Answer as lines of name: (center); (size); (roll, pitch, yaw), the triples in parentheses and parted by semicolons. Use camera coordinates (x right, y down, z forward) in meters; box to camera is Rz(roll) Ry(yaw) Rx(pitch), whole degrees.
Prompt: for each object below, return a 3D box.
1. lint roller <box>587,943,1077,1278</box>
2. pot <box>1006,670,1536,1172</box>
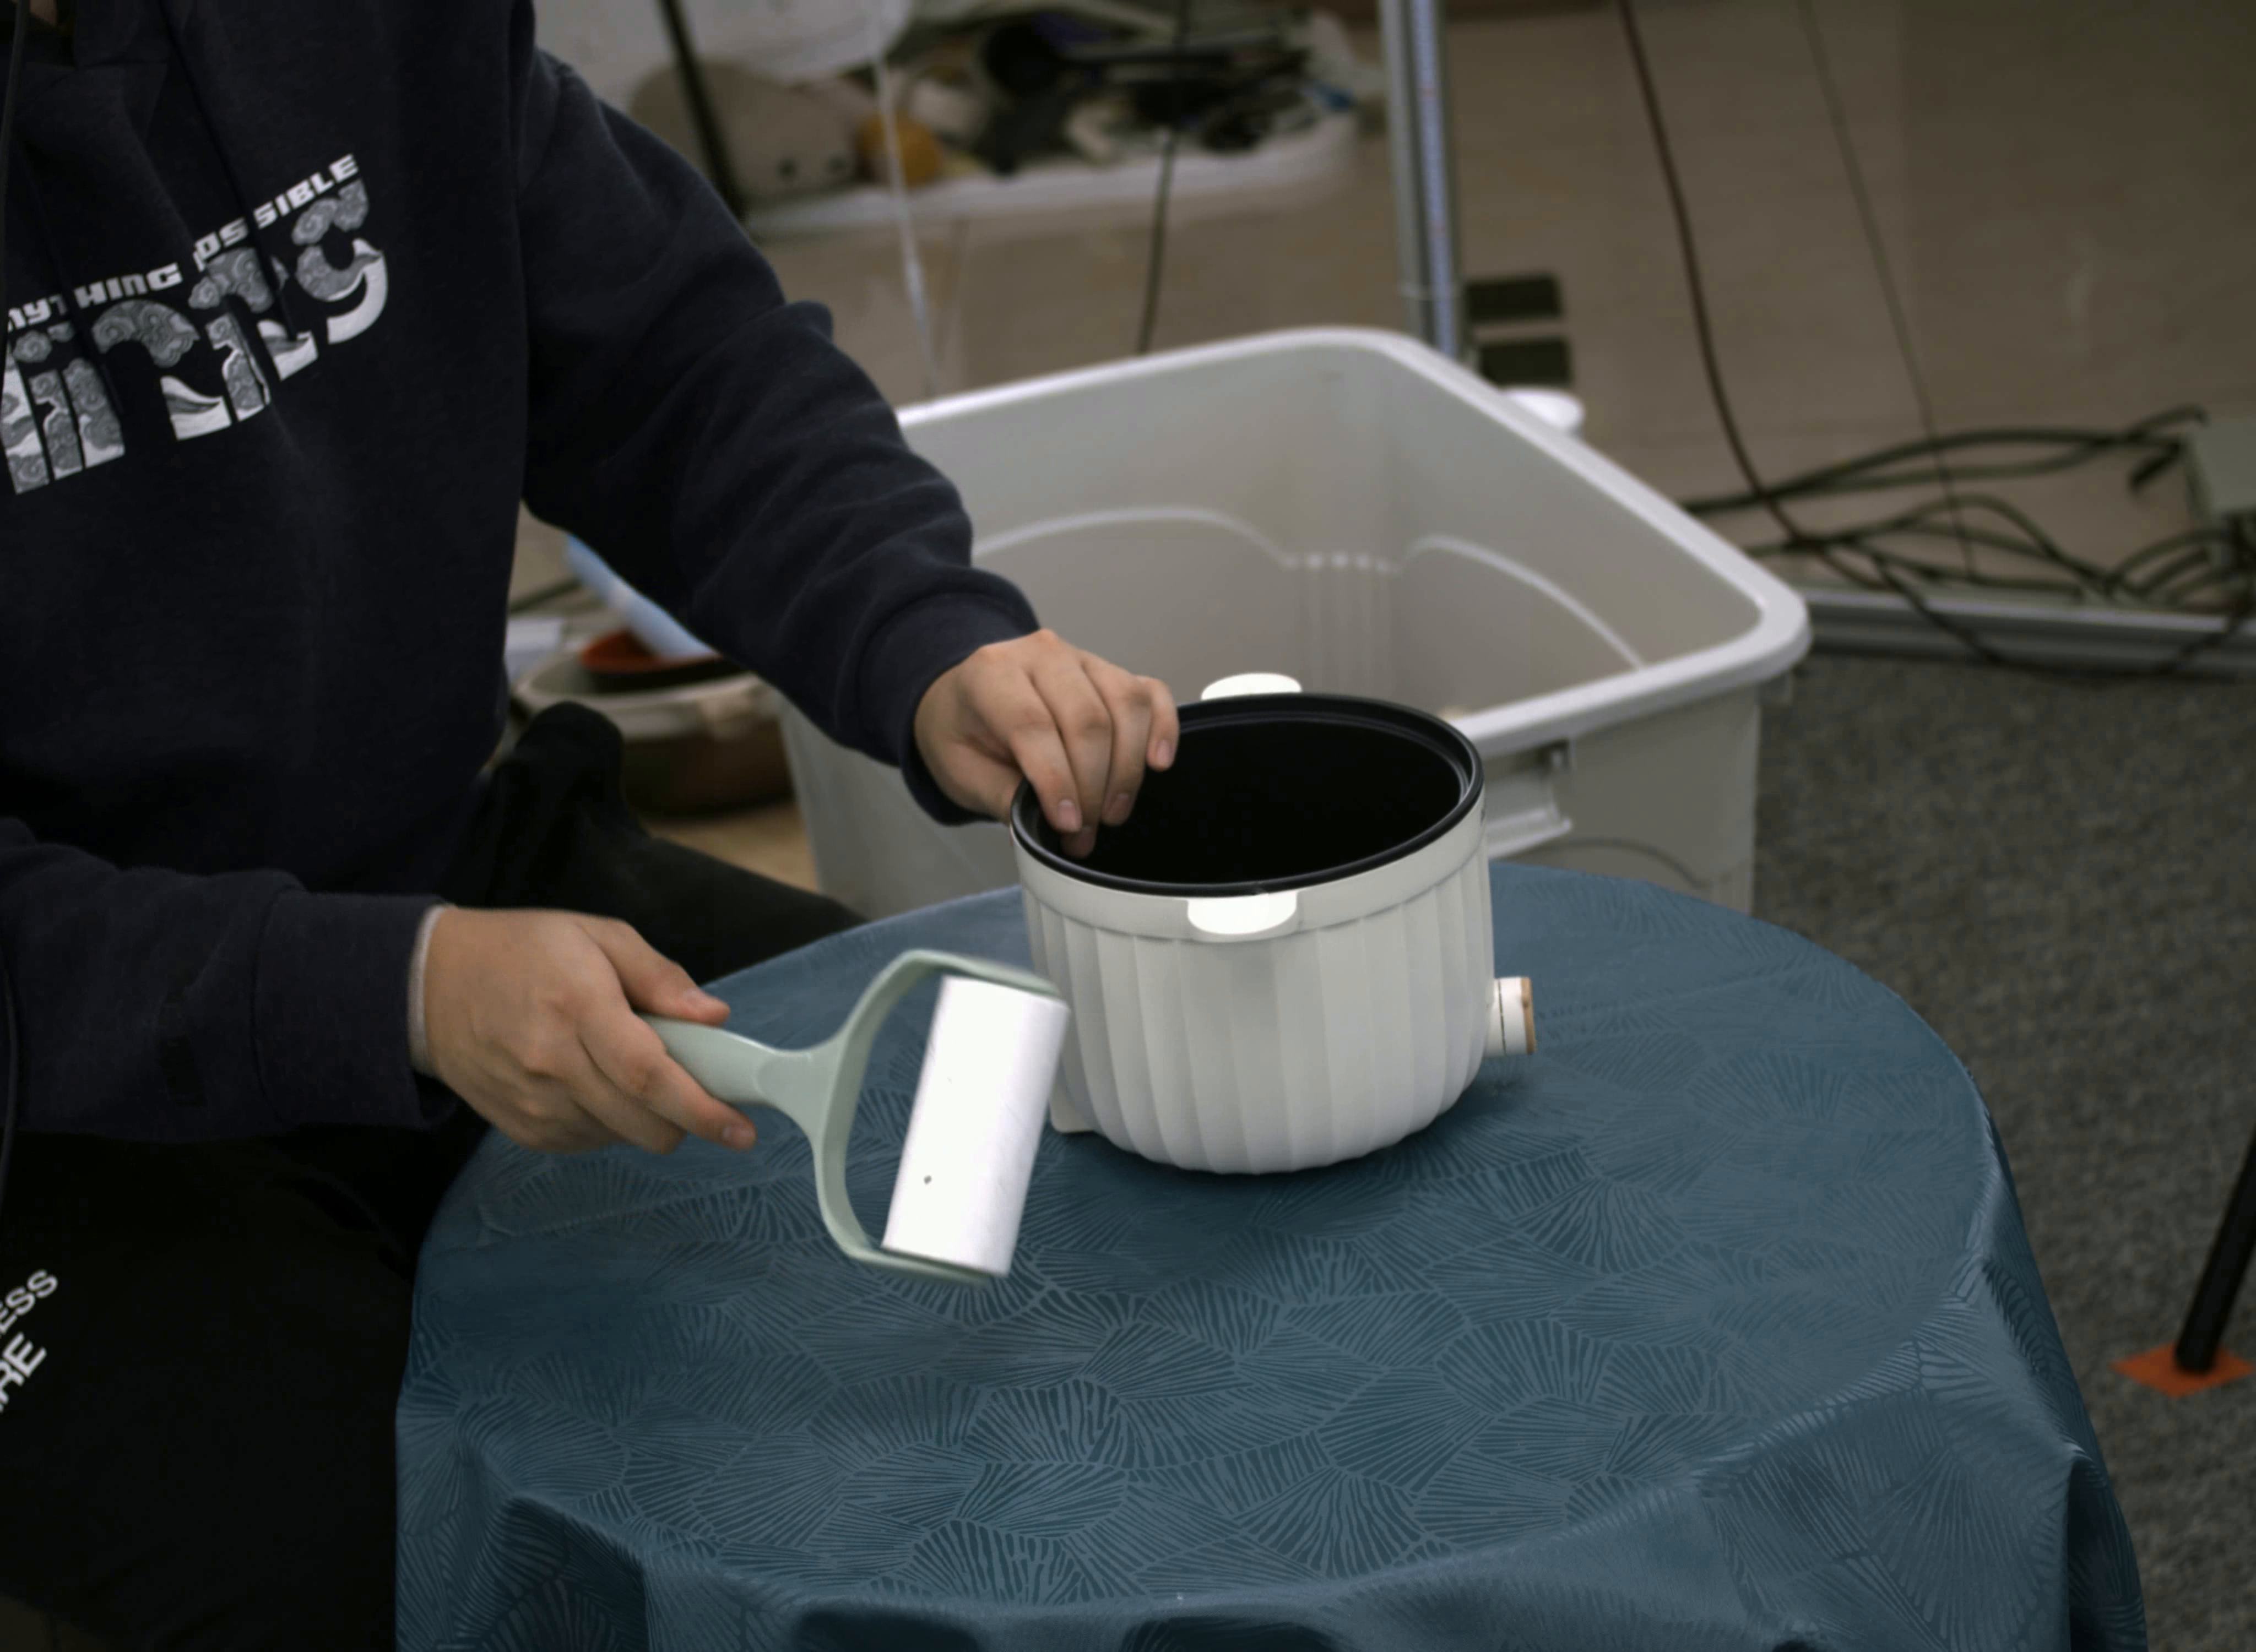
lint roller: (-0.116, 0.090, 2.050); (0.196, 0.116, 0.049); (11, -5, 25)
pot: (0.056, 0.043, 2.175); (0.190, 0.145, 0.237); (-7, 26, 6)
